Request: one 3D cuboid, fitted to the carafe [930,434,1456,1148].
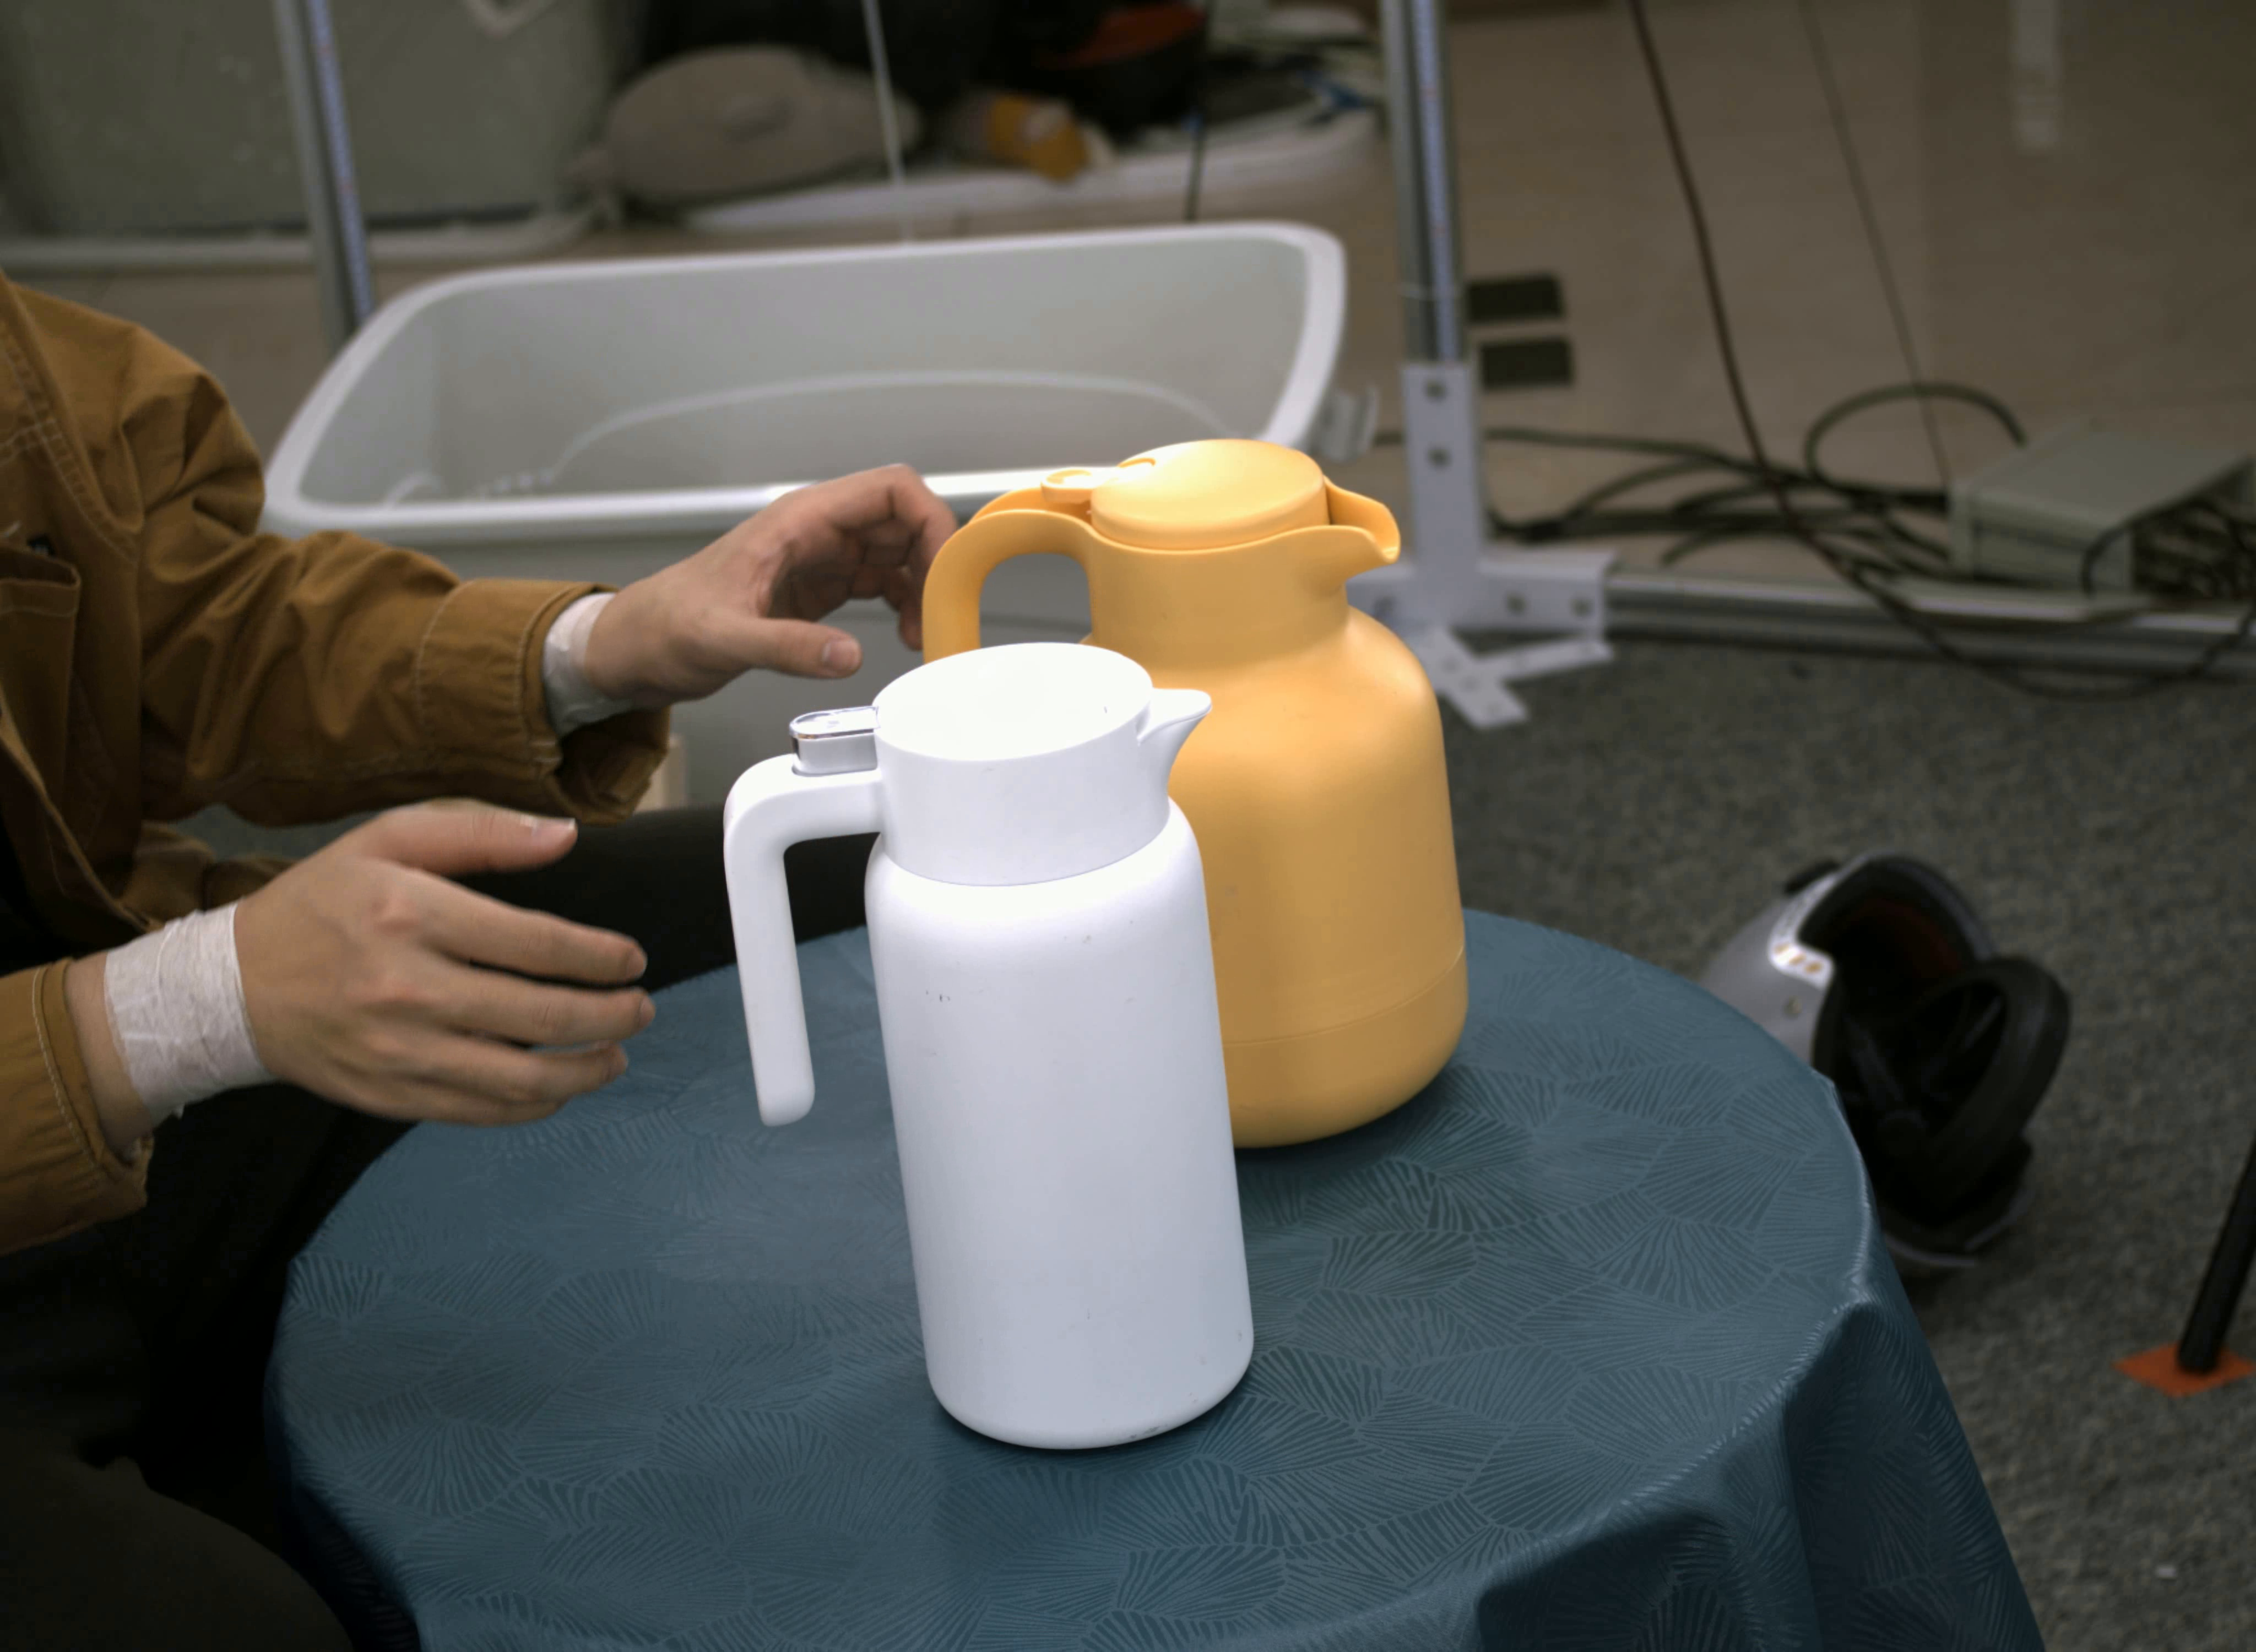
[{"bbox_3d":[0.024,-0.020,2.169,0.201,0.264,0.161,8,26,24],"label":"carafe"}]

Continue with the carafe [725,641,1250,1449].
[{"bbox_3d":[-0.044,0.079,1.968,0.172,0.273,0.122,-7,28,-2],"label":"carafe"}]
